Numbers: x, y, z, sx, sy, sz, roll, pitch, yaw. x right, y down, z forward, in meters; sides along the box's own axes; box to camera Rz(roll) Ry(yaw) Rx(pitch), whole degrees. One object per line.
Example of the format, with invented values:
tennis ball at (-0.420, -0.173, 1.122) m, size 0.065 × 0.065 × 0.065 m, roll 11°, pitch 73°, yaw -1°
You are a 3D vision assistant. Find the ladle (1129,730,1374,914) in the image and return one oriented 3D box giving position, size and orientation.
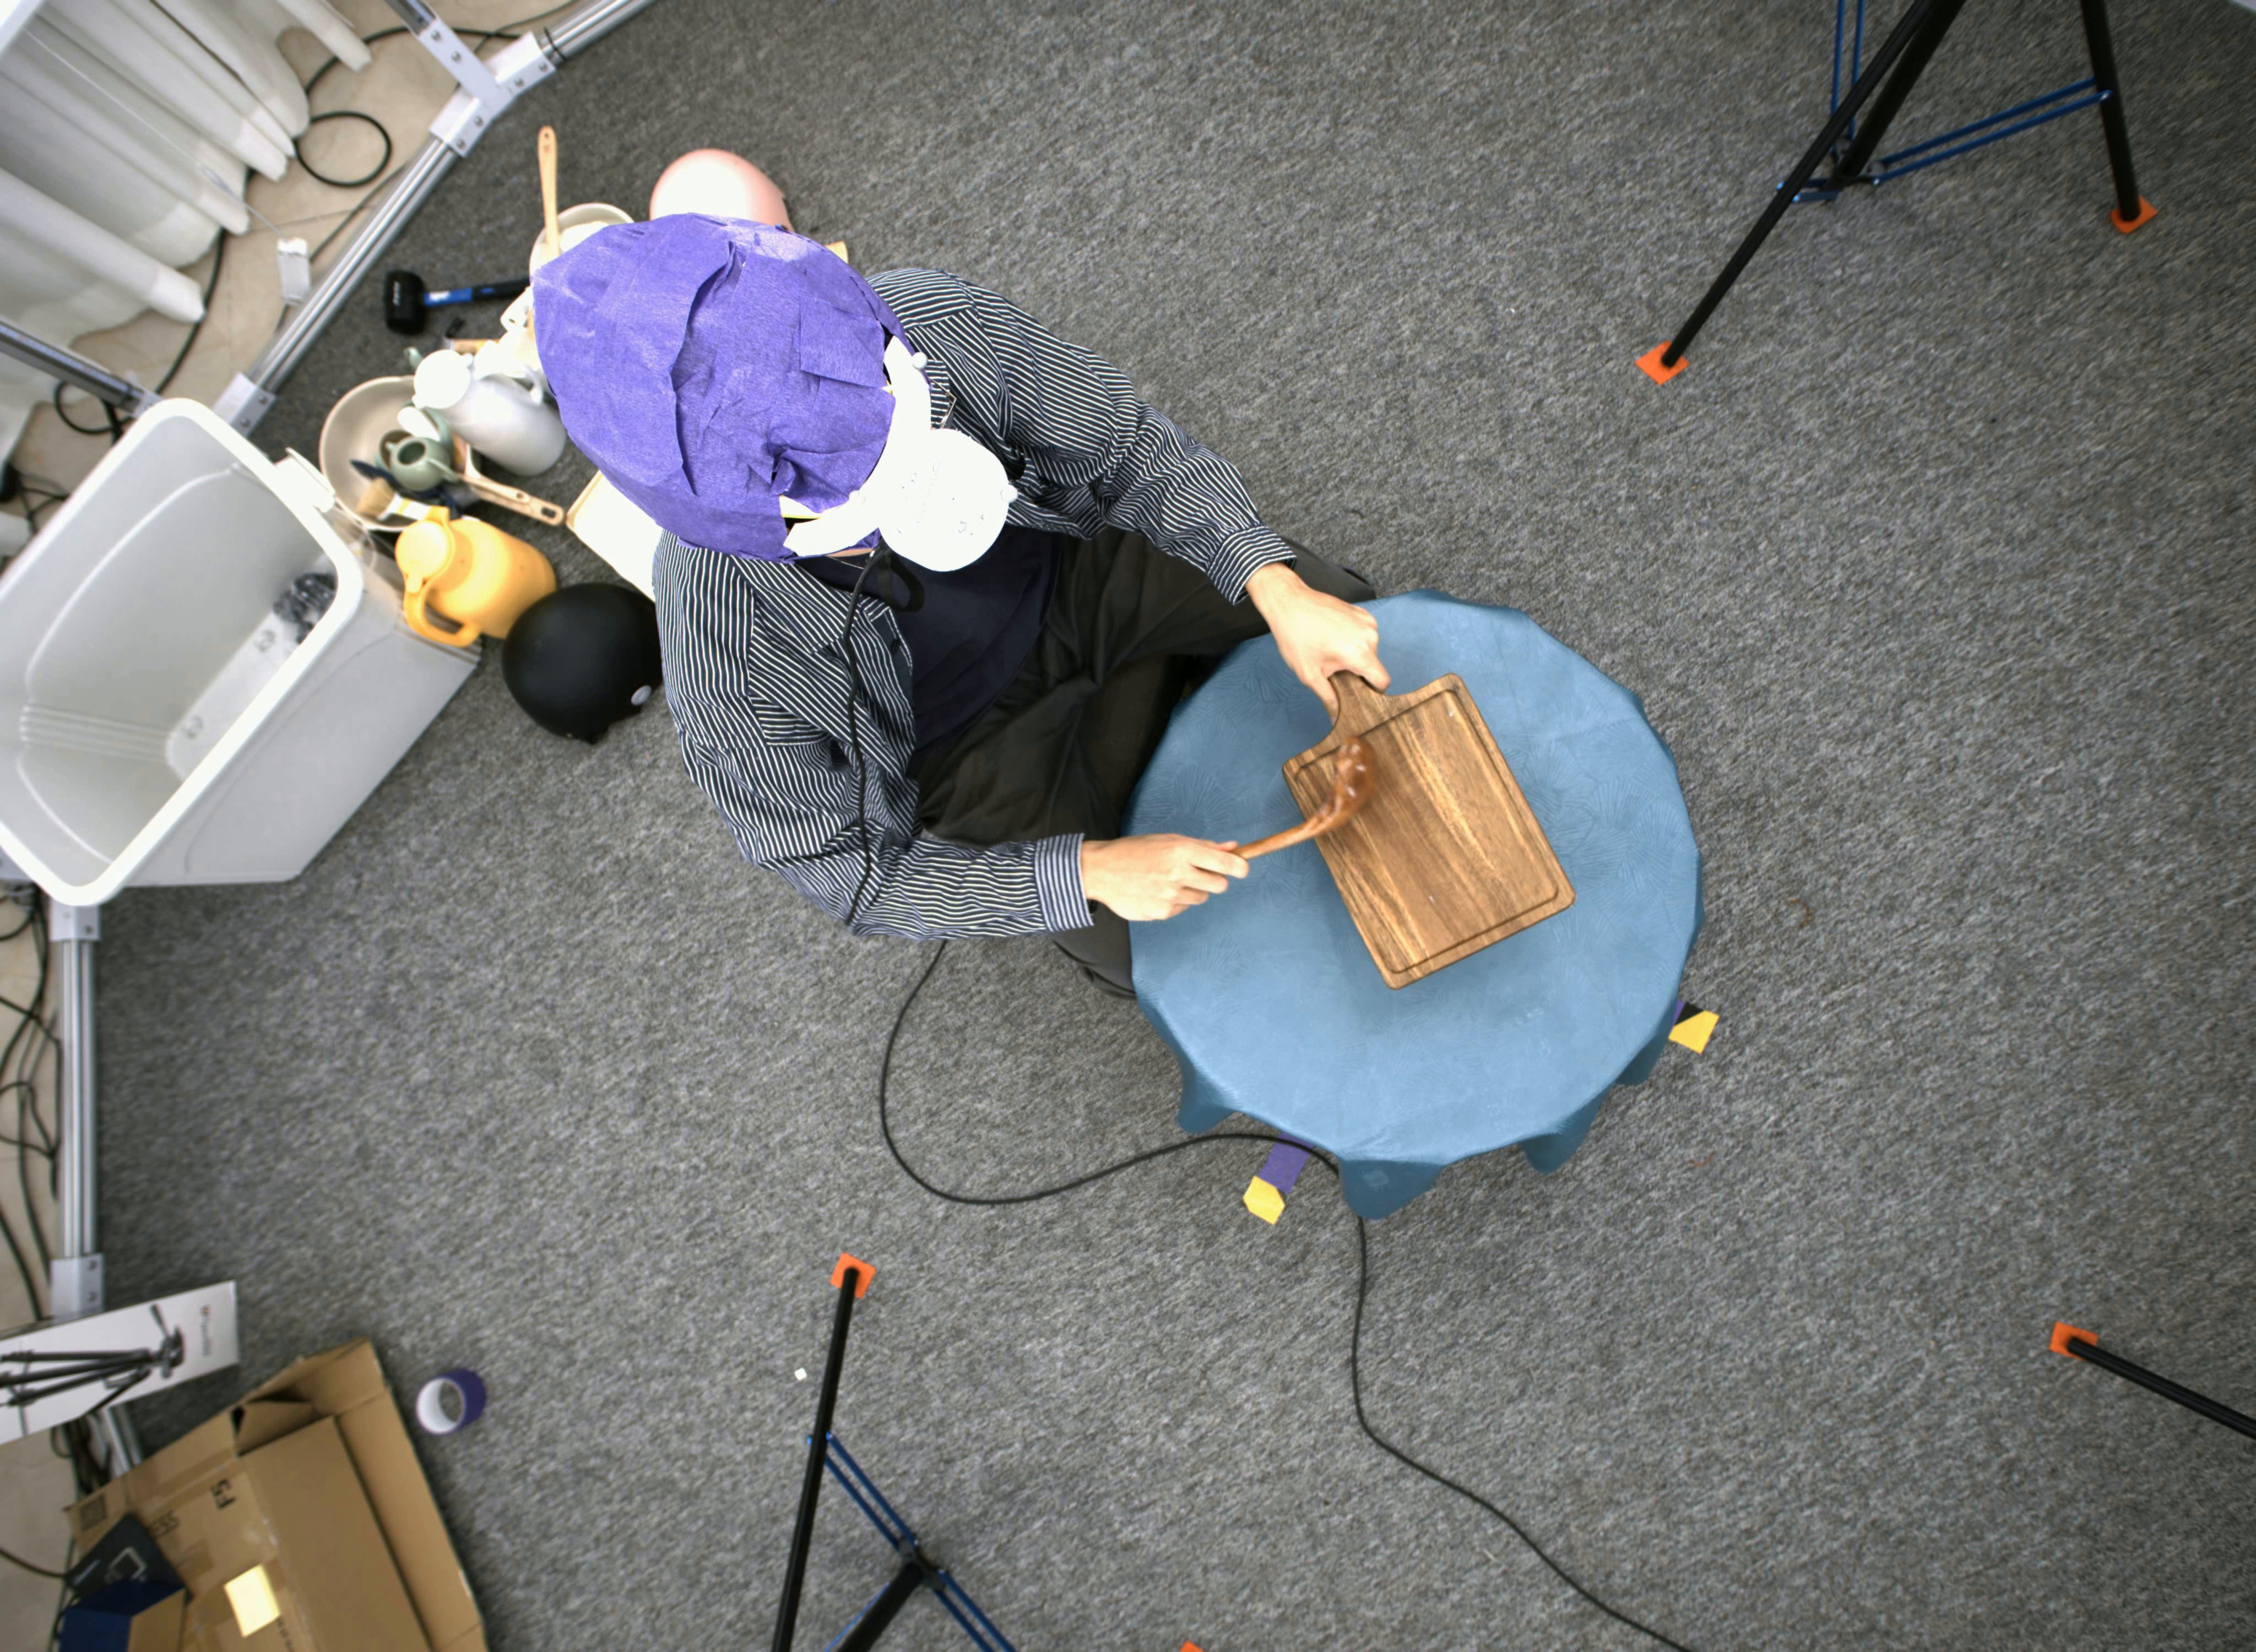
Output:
ladle at (0.111, -0.005, 1.314) m, size 0.277 × 0.082 × 0.075 m, roll -25°, pitch 72°, yaw 18°

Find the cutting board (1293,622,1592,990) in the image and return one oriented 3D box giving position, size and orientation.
cutting board at (0.274, -0.042, 1.314) m, size 0.203 × 0.023 × 0.349 m, roll -28°, pitch 79°, yaw 20°
